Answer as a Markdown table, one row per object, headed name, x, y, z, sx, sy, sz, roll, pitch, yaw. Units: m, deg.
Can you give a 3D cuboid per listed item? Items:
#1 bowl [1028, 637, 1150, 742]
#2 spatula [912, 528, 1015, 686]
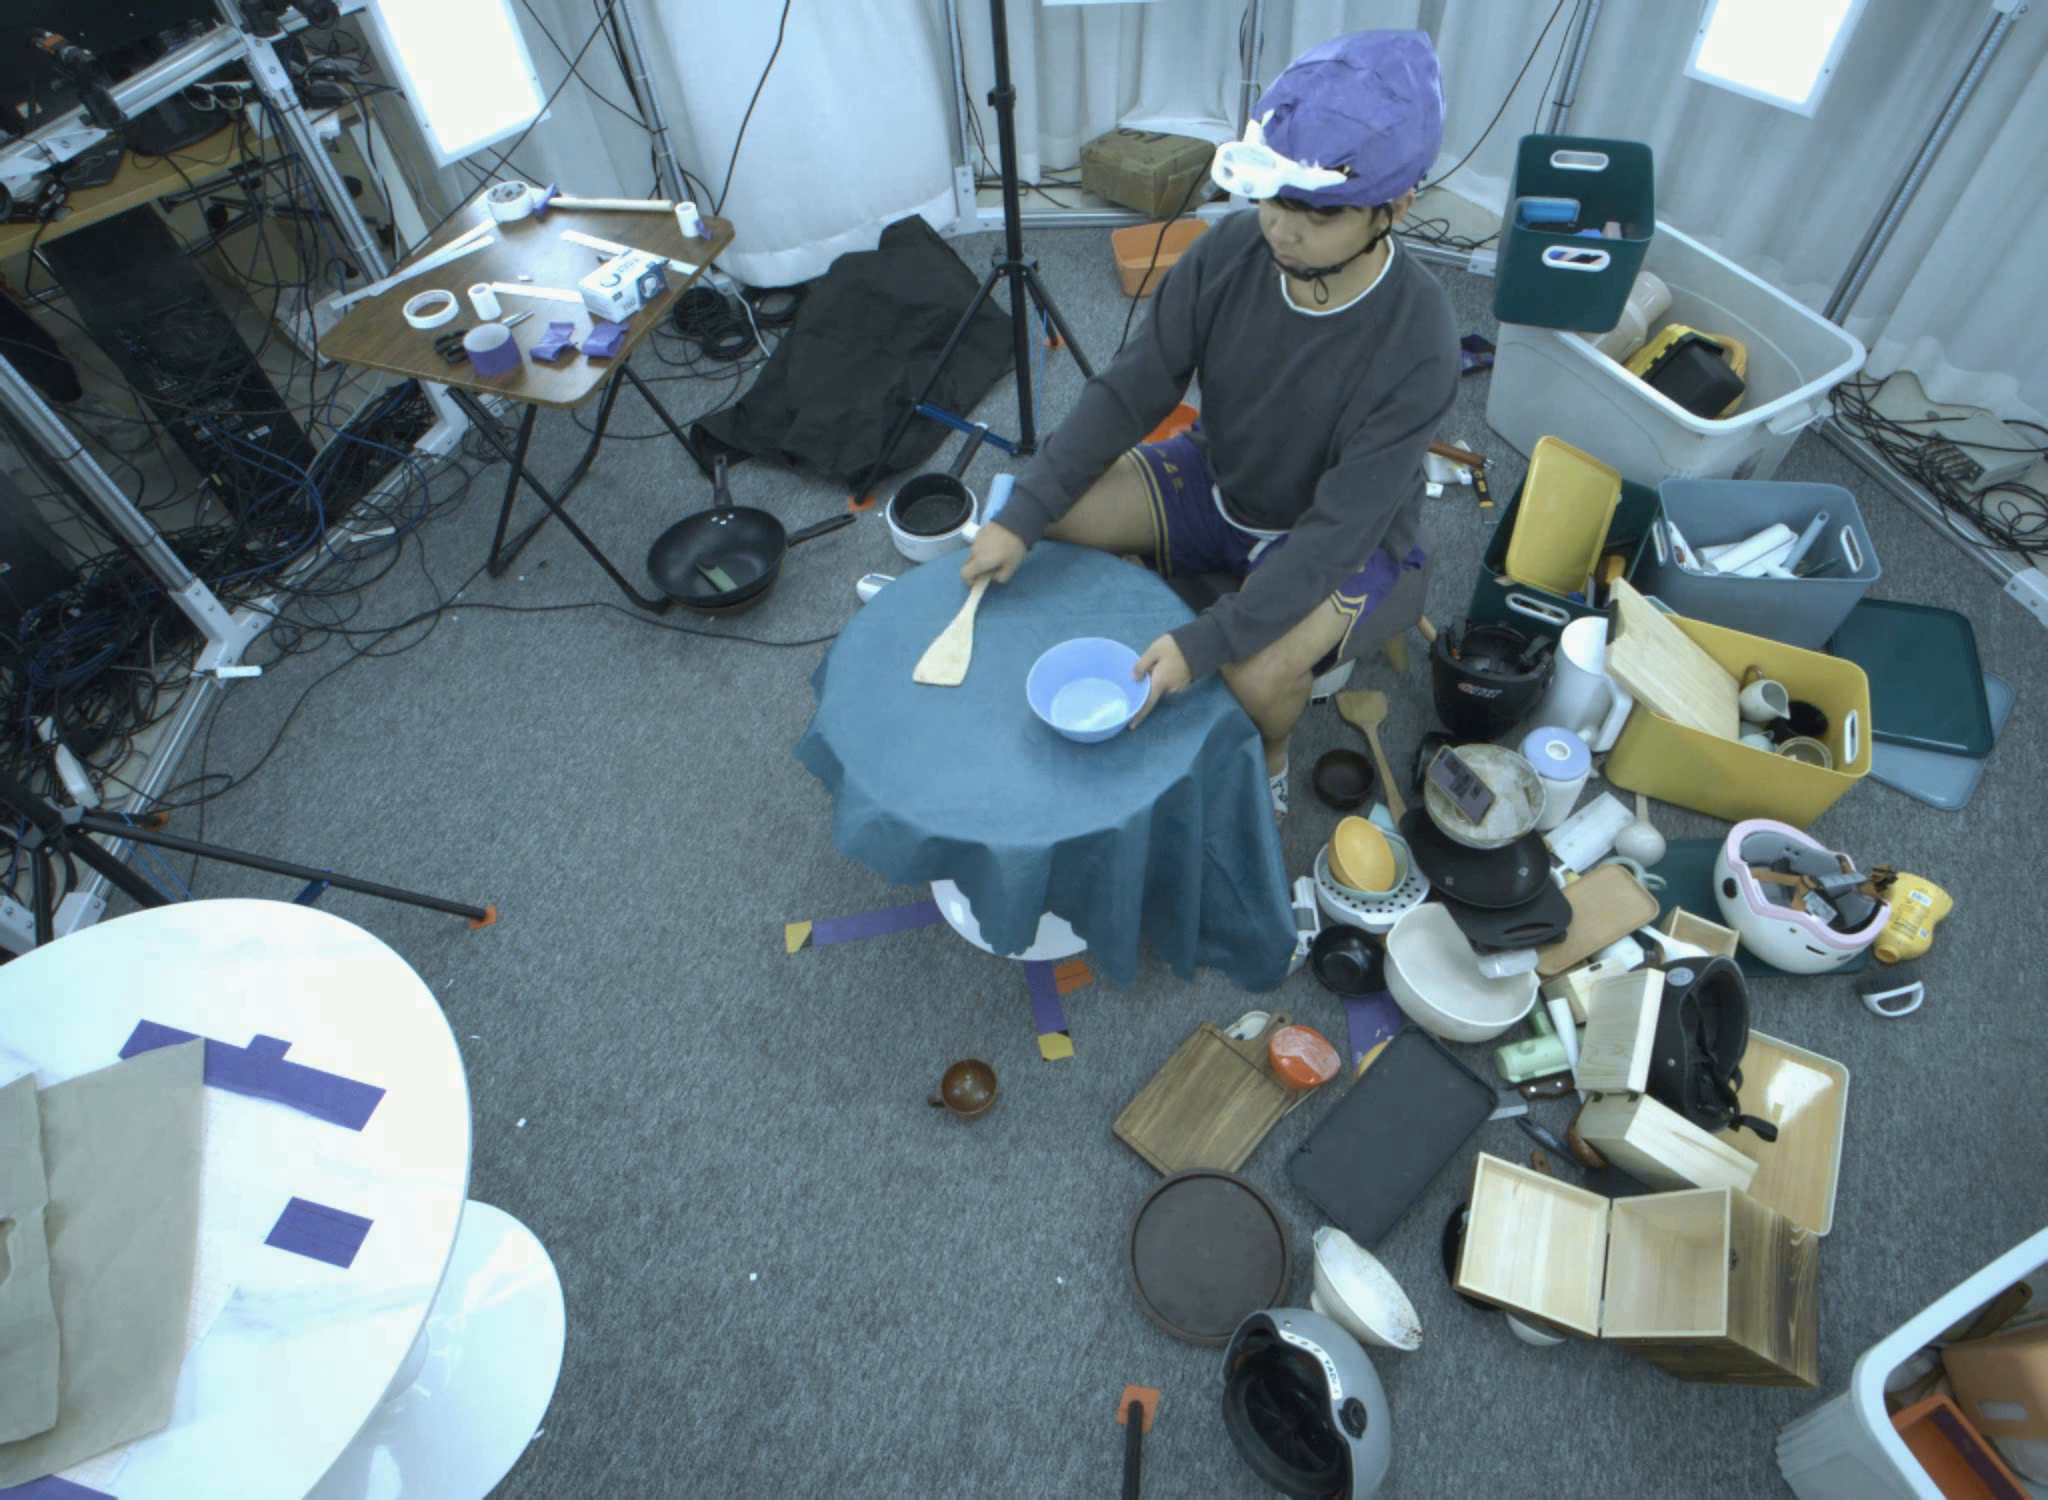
| name | x | y | z | sx | sy | sz | roll | pitch | yaw |
| --- | --- | --- | --- | --- | --- | --- | --- | --- | --- |
| bowl | 0.096 | -0.078 | 1.796 | 0.176 | 0.071 | 0.174 | -2 | 54 | 4 |
| spatula | -0.081 | -0.229 | 1.934 | 0.079 | 0.017 | 0.327 | 16 | 64 | 13 |
